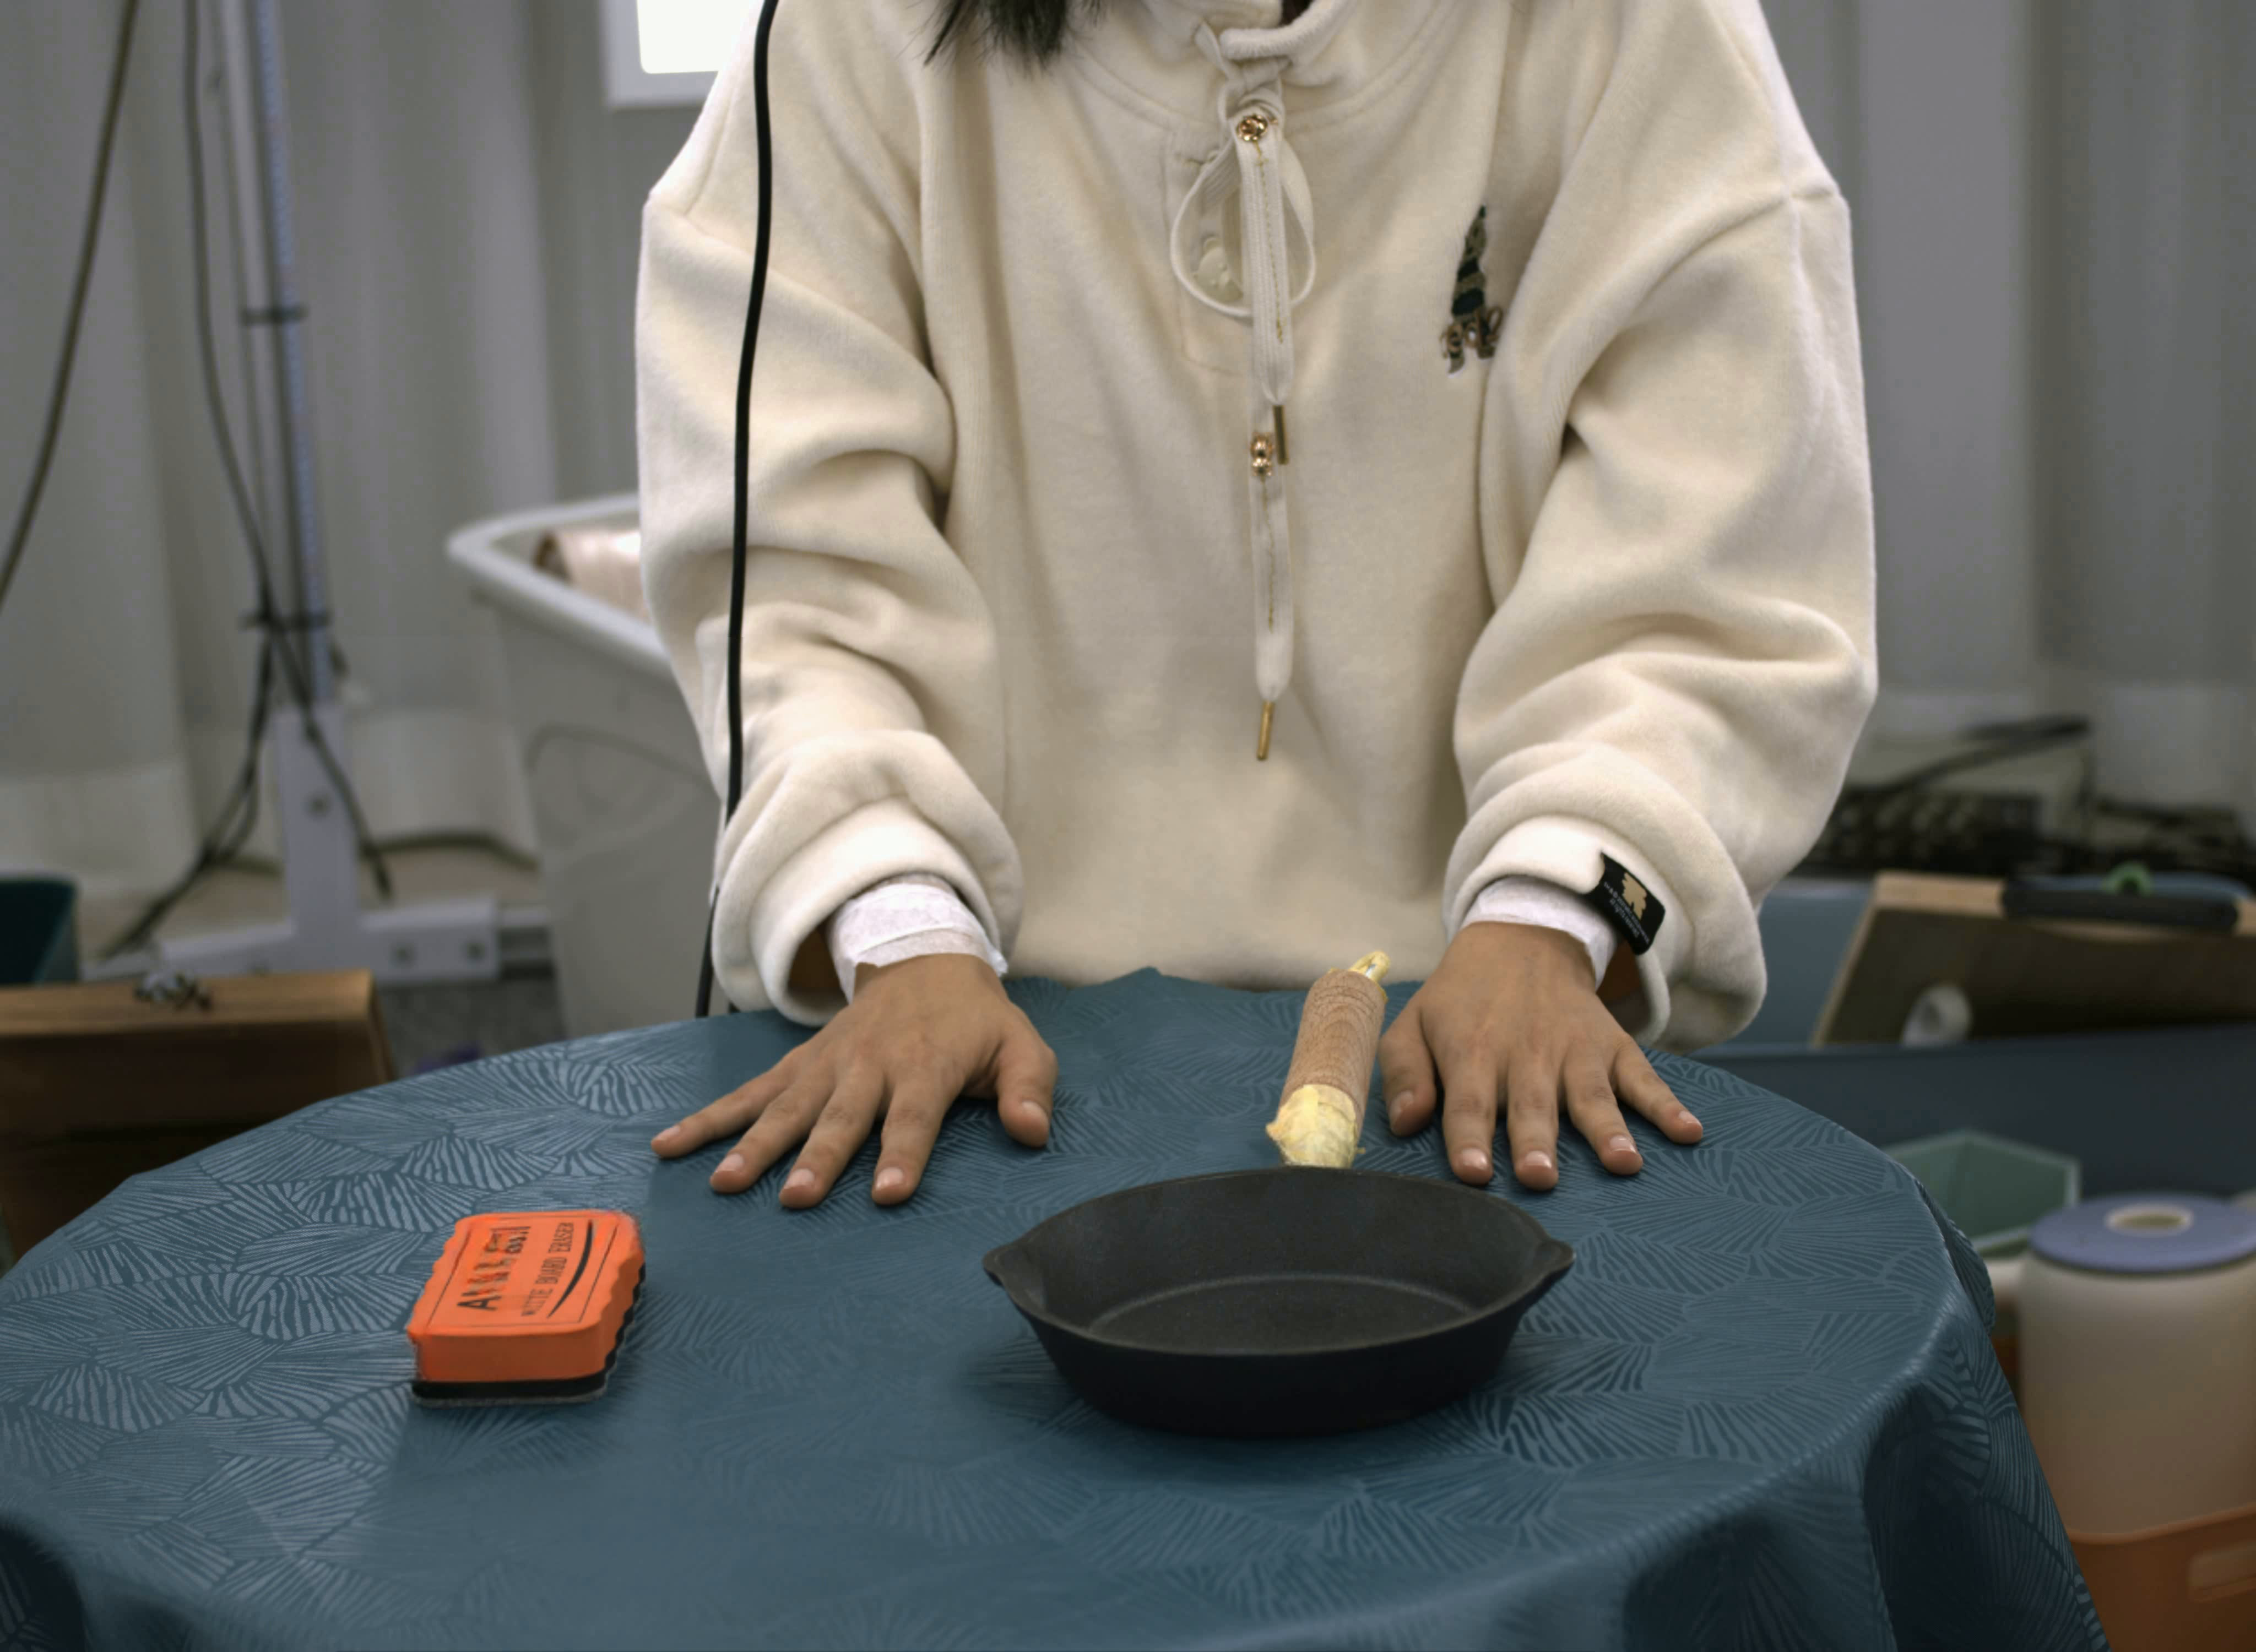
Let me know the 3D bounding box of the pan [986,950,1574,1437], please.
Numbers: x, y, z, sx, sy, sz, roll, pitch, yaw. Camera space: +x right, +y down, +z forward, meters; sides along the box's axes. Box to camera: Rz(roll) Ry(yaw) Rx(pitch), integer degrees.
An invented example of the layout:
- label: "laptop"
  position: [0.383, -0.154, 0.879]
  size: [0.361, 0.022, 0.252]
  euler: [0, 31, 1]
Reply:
- label: "pan"
  position: [0.055, 0.107, 1.636]
  size: [0.168, 0.049, 0.326]
  euler: [-1, 16, 9]

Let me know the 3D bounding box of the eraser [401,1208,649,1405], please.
- label: "eraser"
  position: [-0.176, 0.141, 1.606]
  size: [0.059, 0.023, 0.109]
  euler: [-2, 15, 4]
